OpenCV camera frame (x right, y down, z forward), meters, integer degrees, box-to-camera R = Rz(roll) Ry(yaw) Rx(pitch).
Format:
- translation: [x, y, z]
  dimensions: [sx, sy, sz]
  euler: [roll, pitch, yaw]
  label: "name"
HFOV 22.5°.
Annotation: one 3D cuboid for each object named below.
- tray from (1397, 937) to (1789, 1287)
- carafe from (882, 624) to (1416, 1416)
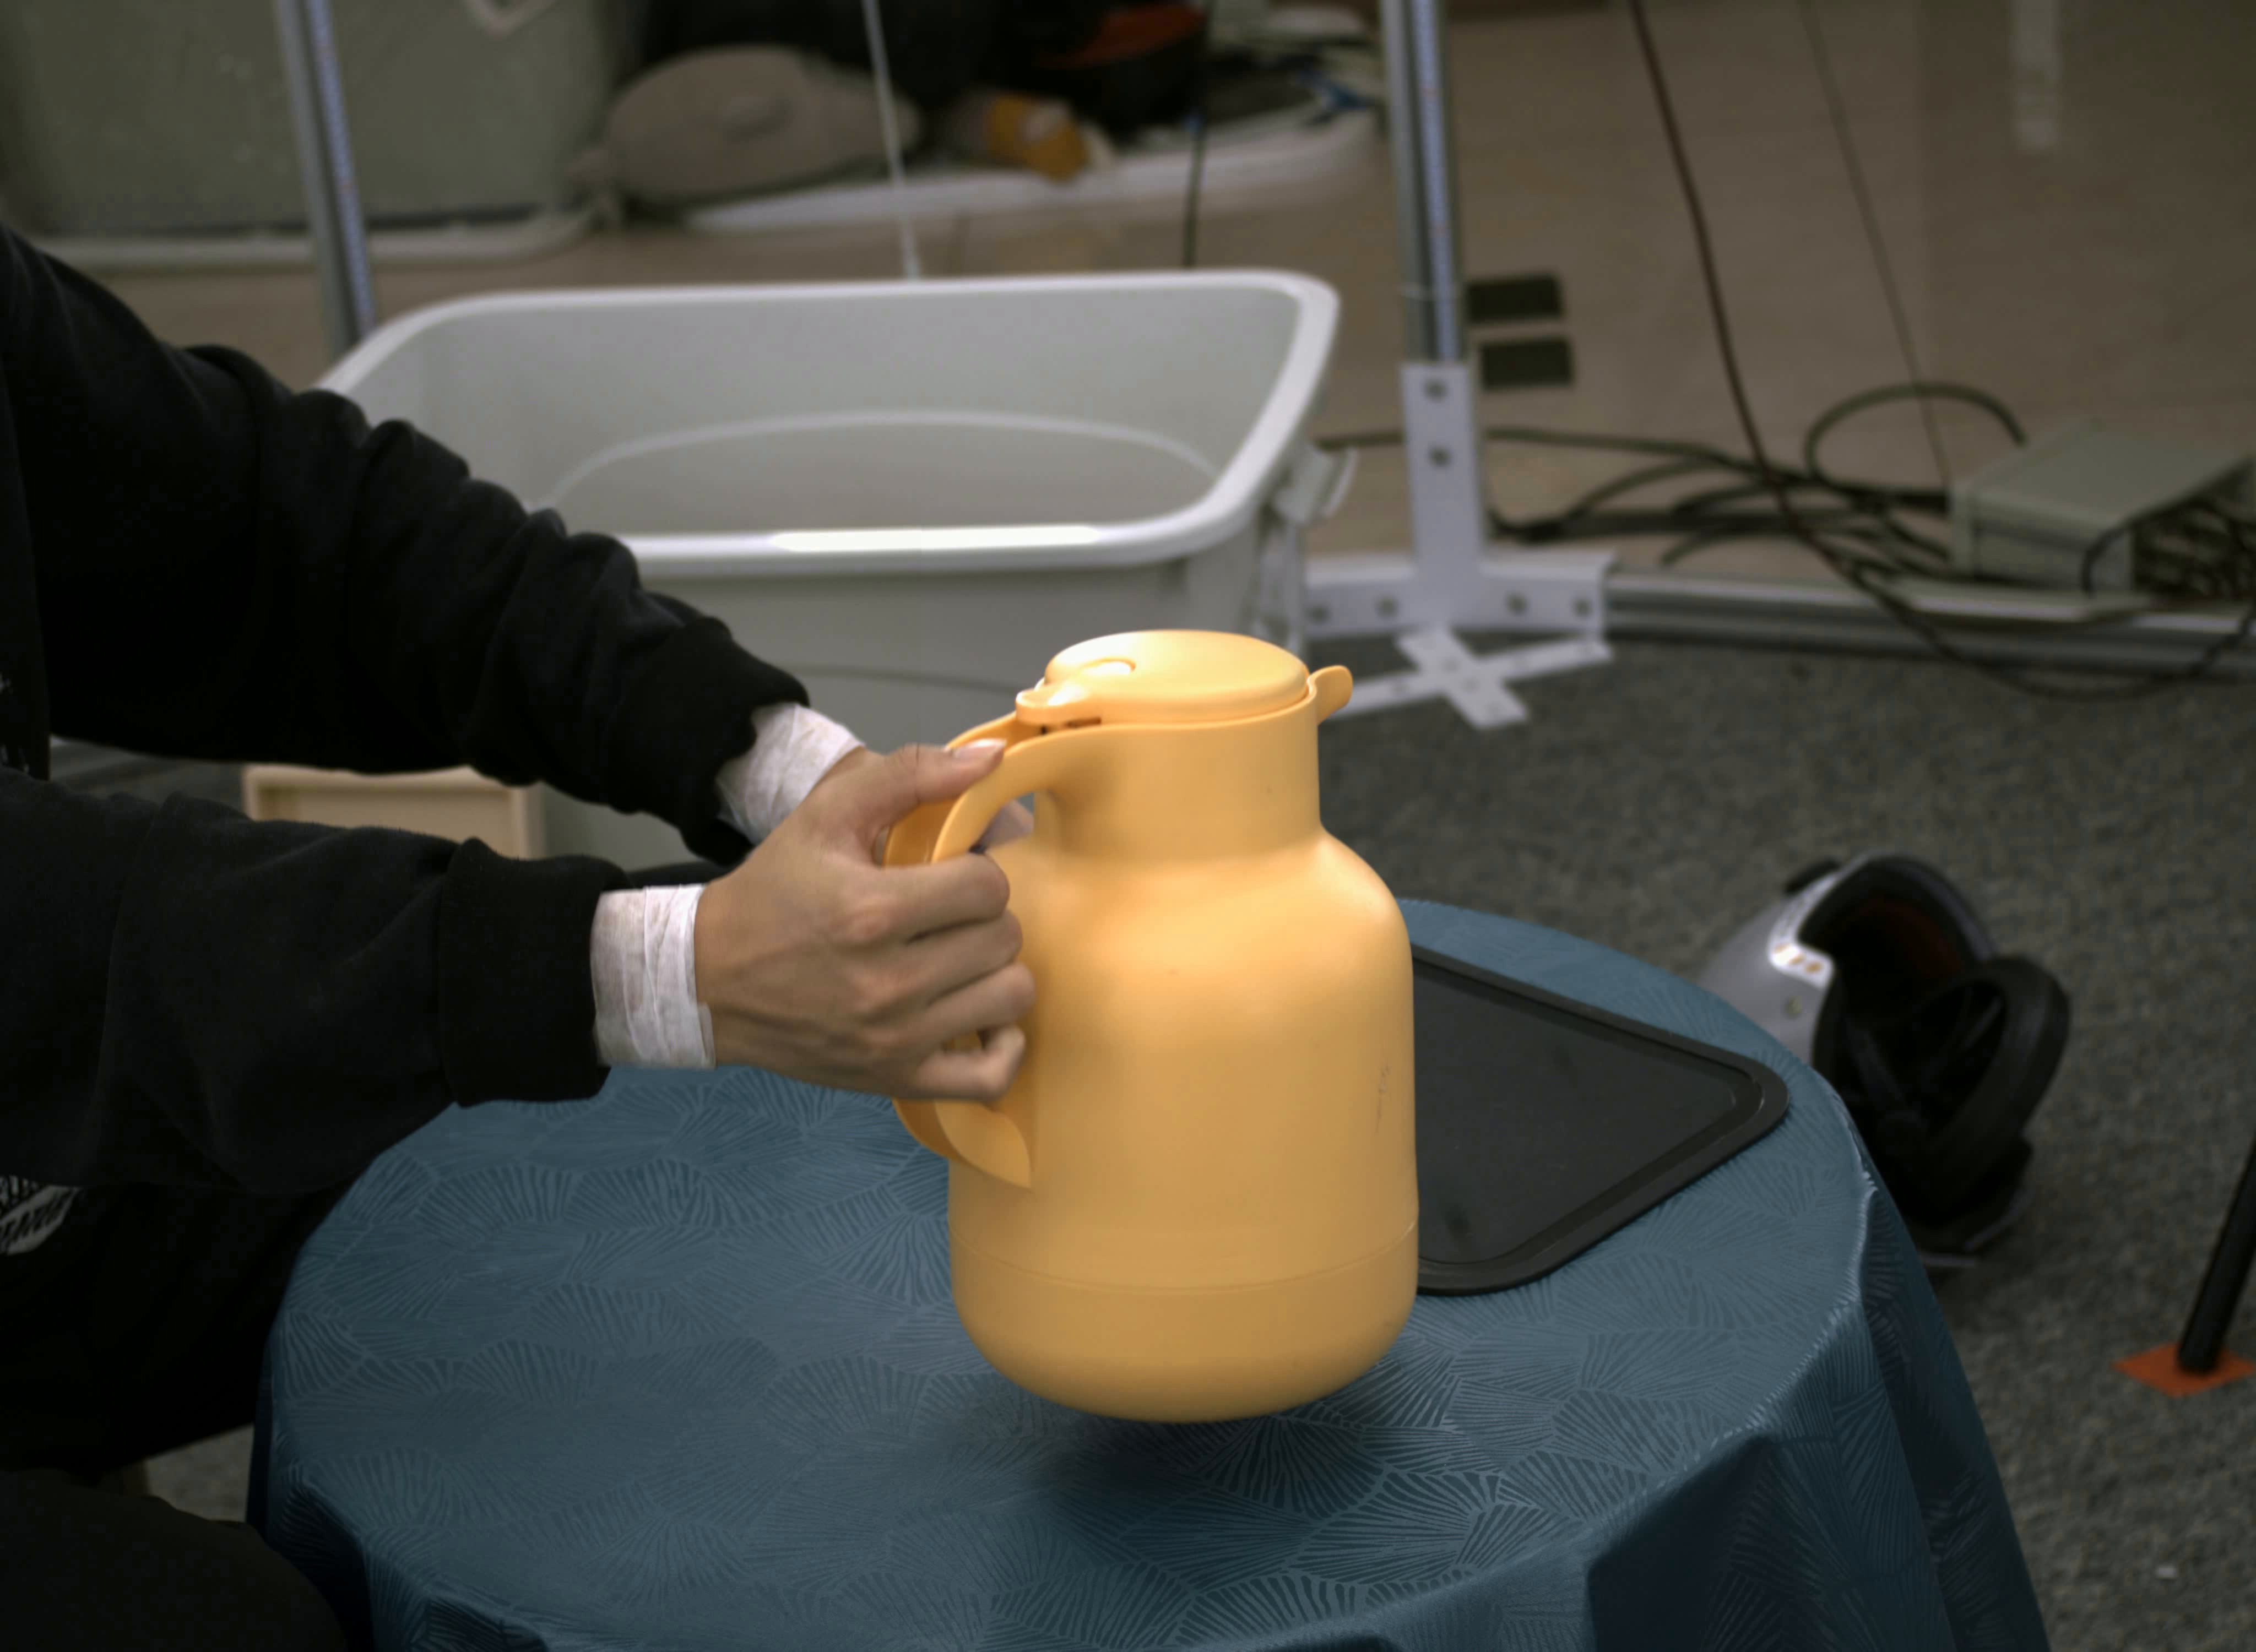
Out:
- translation: [0.082, 0.098, 2.203]
  dimensions: [0.323, 0.010, 0.209]
  euler: [20, 35, 41]
  label: "tray"
- translation: [0.002, 0.065, 1.933]
  dimensions: [0.201, 0.263, 0.162]
  euler: [-12, 19, -37]
  label: "carafe"
